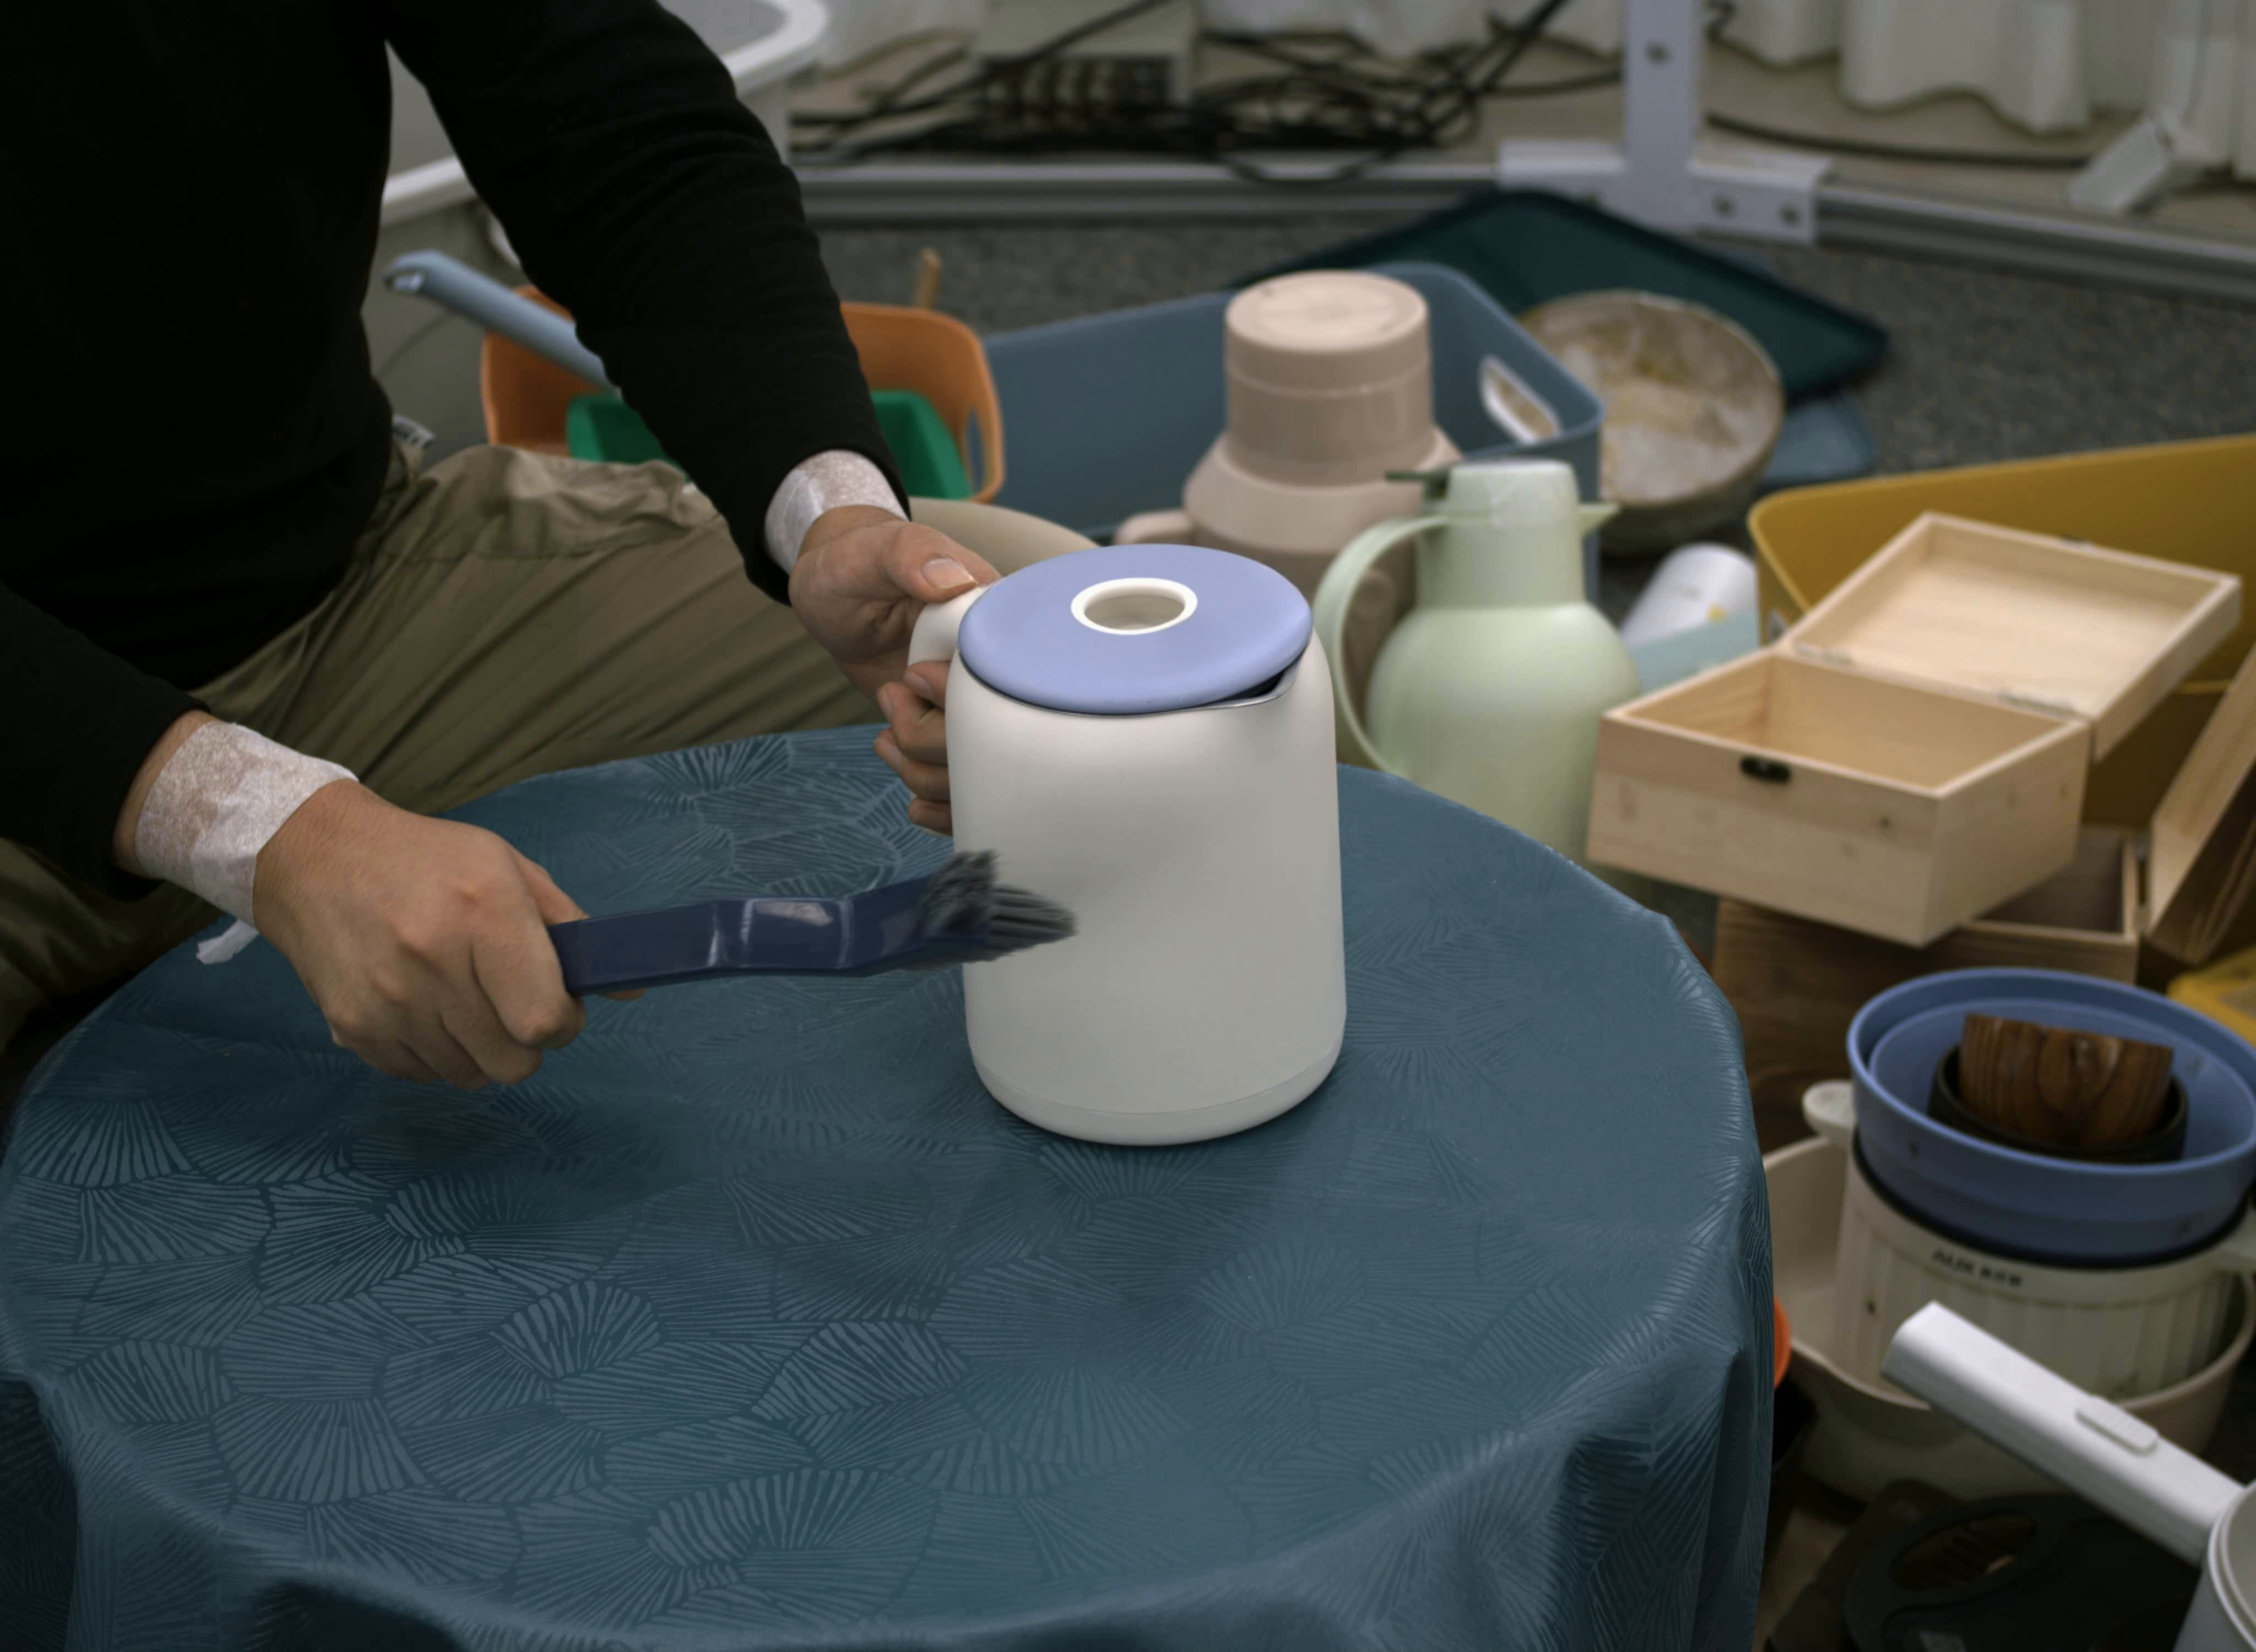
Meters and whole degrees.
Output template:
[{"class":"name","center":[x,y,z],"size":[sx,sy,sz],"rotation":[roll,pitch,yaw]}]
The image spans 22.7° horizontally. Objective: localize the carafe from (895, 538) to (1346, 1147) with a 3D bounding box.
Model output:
[{"class":"carafe","center":[-0.011,-0.002,1.917],"size":[0.134,0.181,0.191],"rotation":[-25,33,-38]}]

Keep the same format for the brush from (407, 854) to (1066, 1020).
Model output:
[{"class":"brush","center":[-0.143,0.034,1.822],"size":[0.270,0.034,0.096],"rotation":[-6,-12,29]}]
